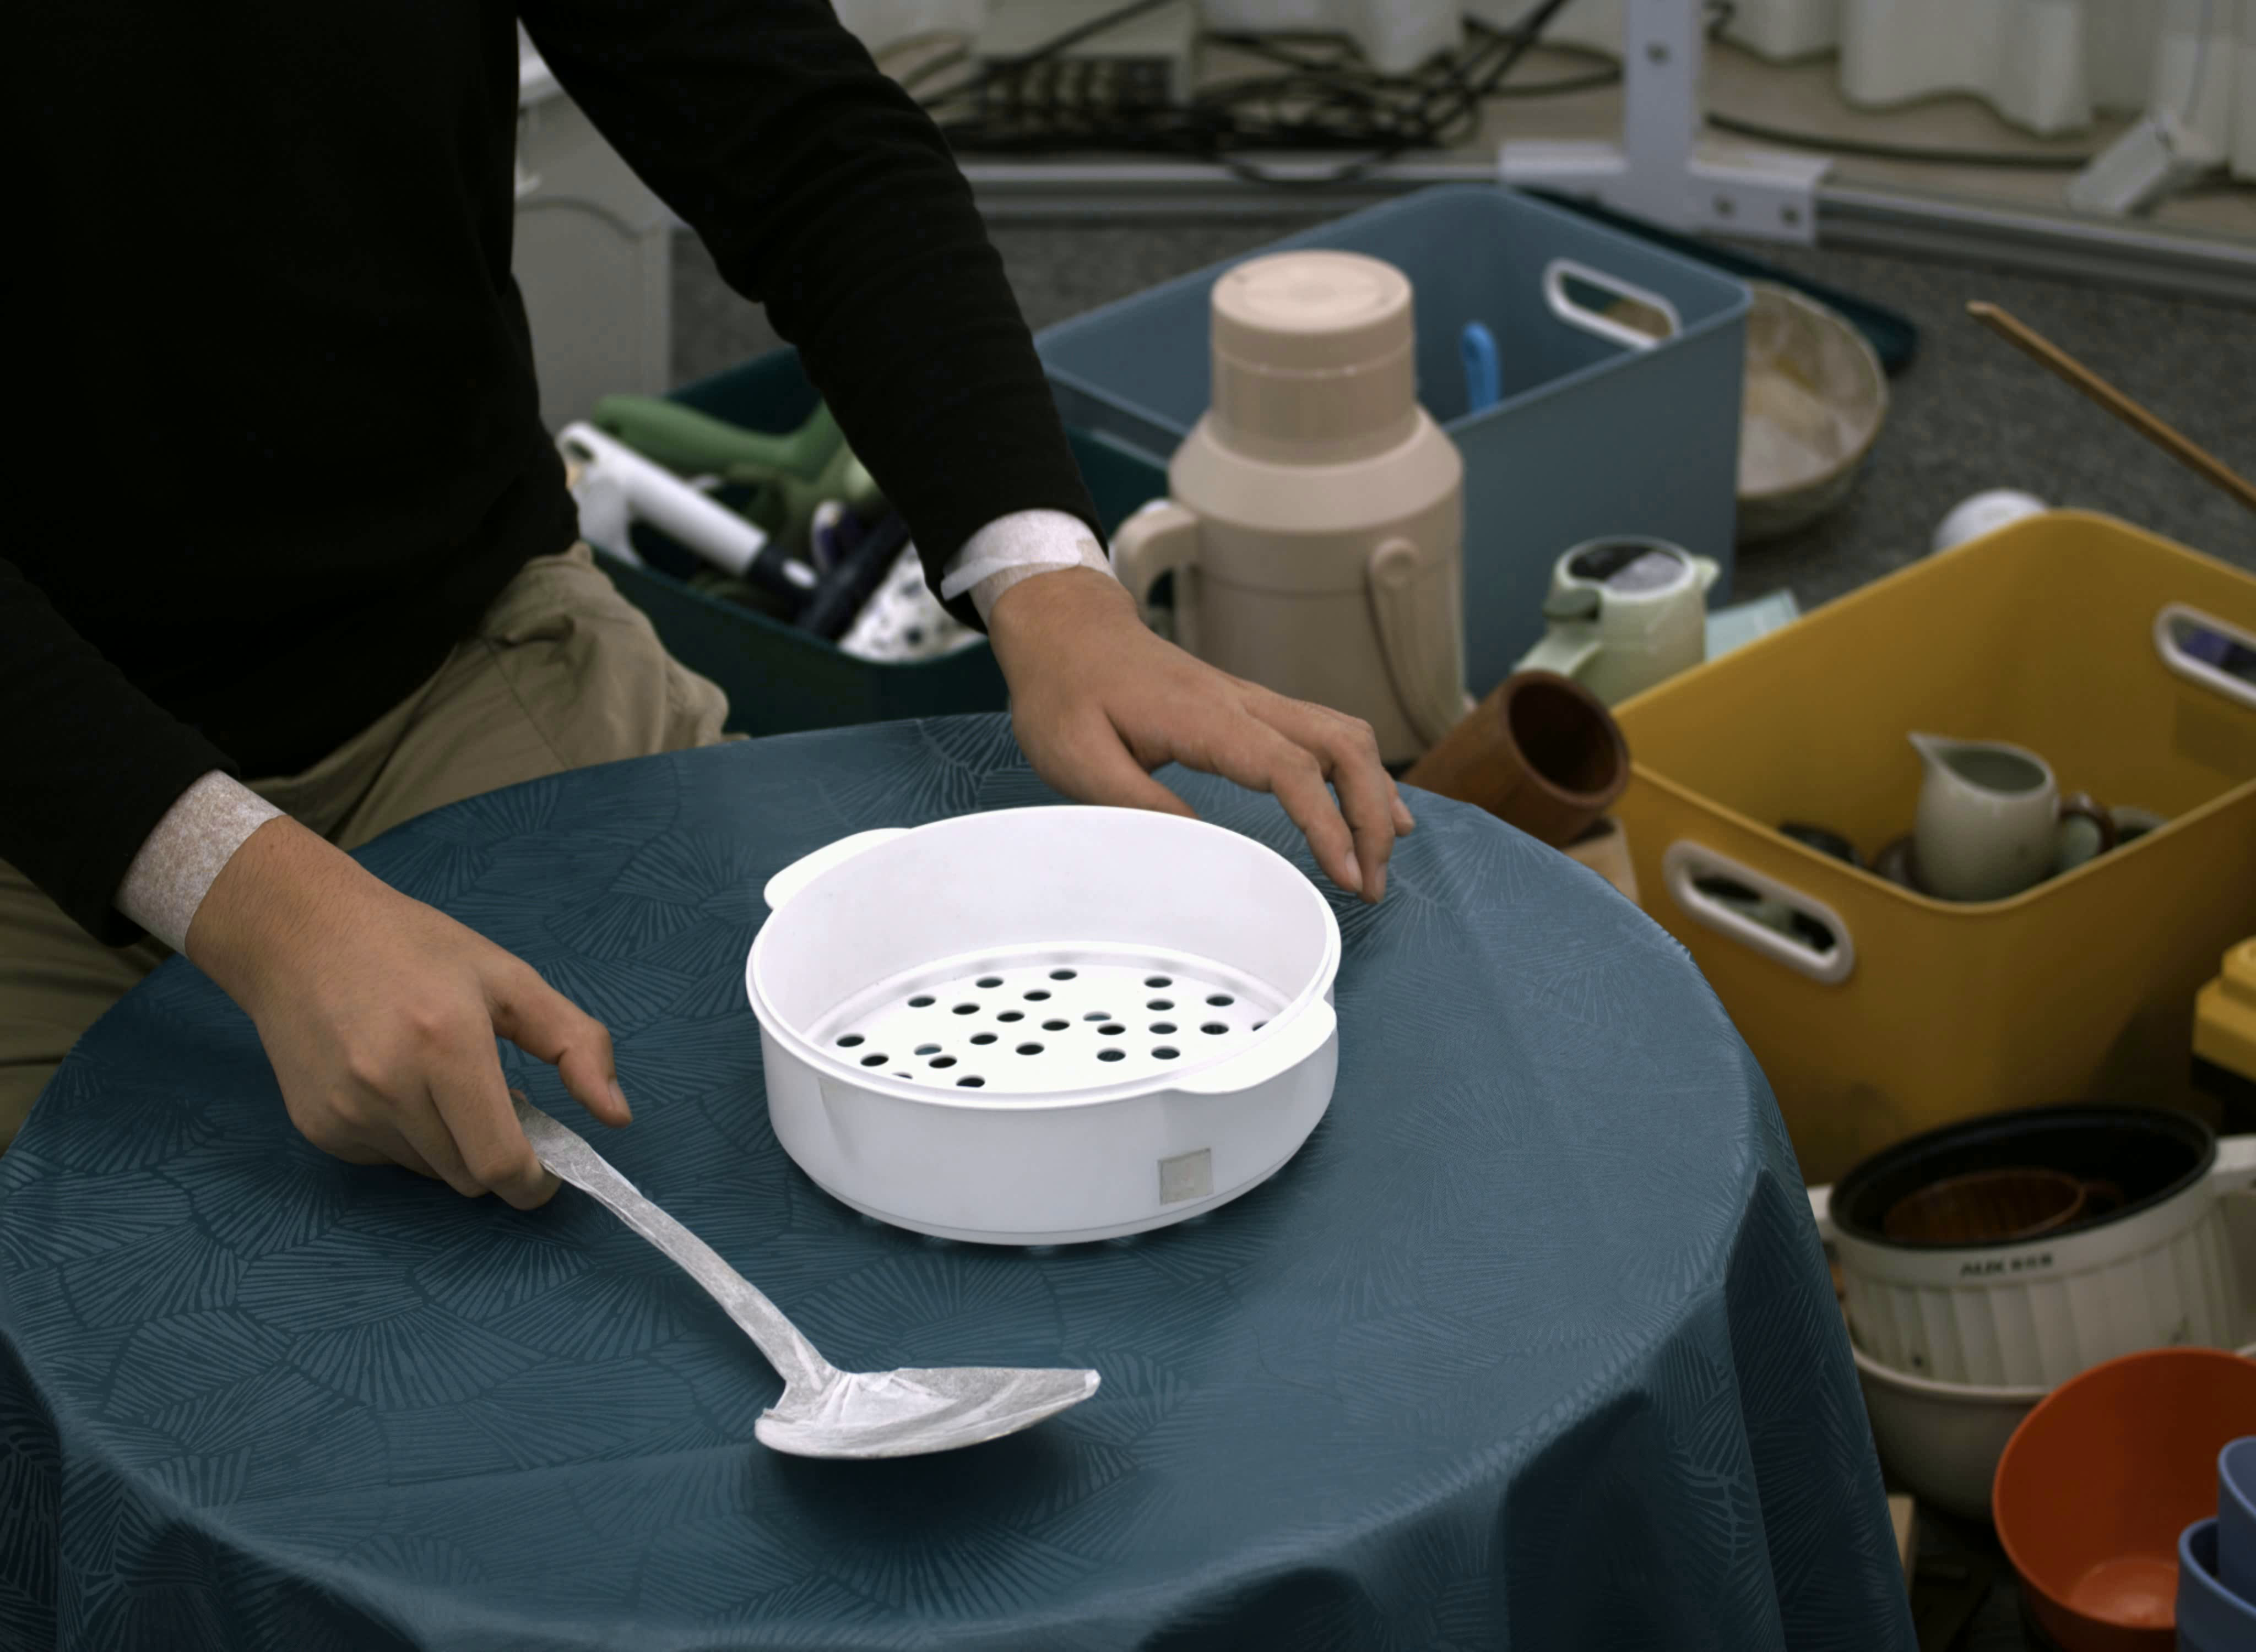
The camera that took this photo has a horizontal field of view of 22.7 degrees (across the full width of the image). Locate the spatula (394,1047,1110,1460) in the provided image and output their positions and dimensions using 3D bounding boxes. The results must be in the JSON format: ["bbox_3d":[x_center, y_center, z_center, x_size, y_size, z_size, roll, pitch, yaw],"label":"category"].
[{"bbox_3d":[-0.144,0.130,1.809,0.099,0.044,0.365,-15,31,-35],"label":"spatula"}]

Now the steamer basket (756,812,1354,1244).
[{"bbox_3d":[-0.023,0.068,1.891,0.230,0.068,0.204,22,35,40],"label":"steamer basket"}]
